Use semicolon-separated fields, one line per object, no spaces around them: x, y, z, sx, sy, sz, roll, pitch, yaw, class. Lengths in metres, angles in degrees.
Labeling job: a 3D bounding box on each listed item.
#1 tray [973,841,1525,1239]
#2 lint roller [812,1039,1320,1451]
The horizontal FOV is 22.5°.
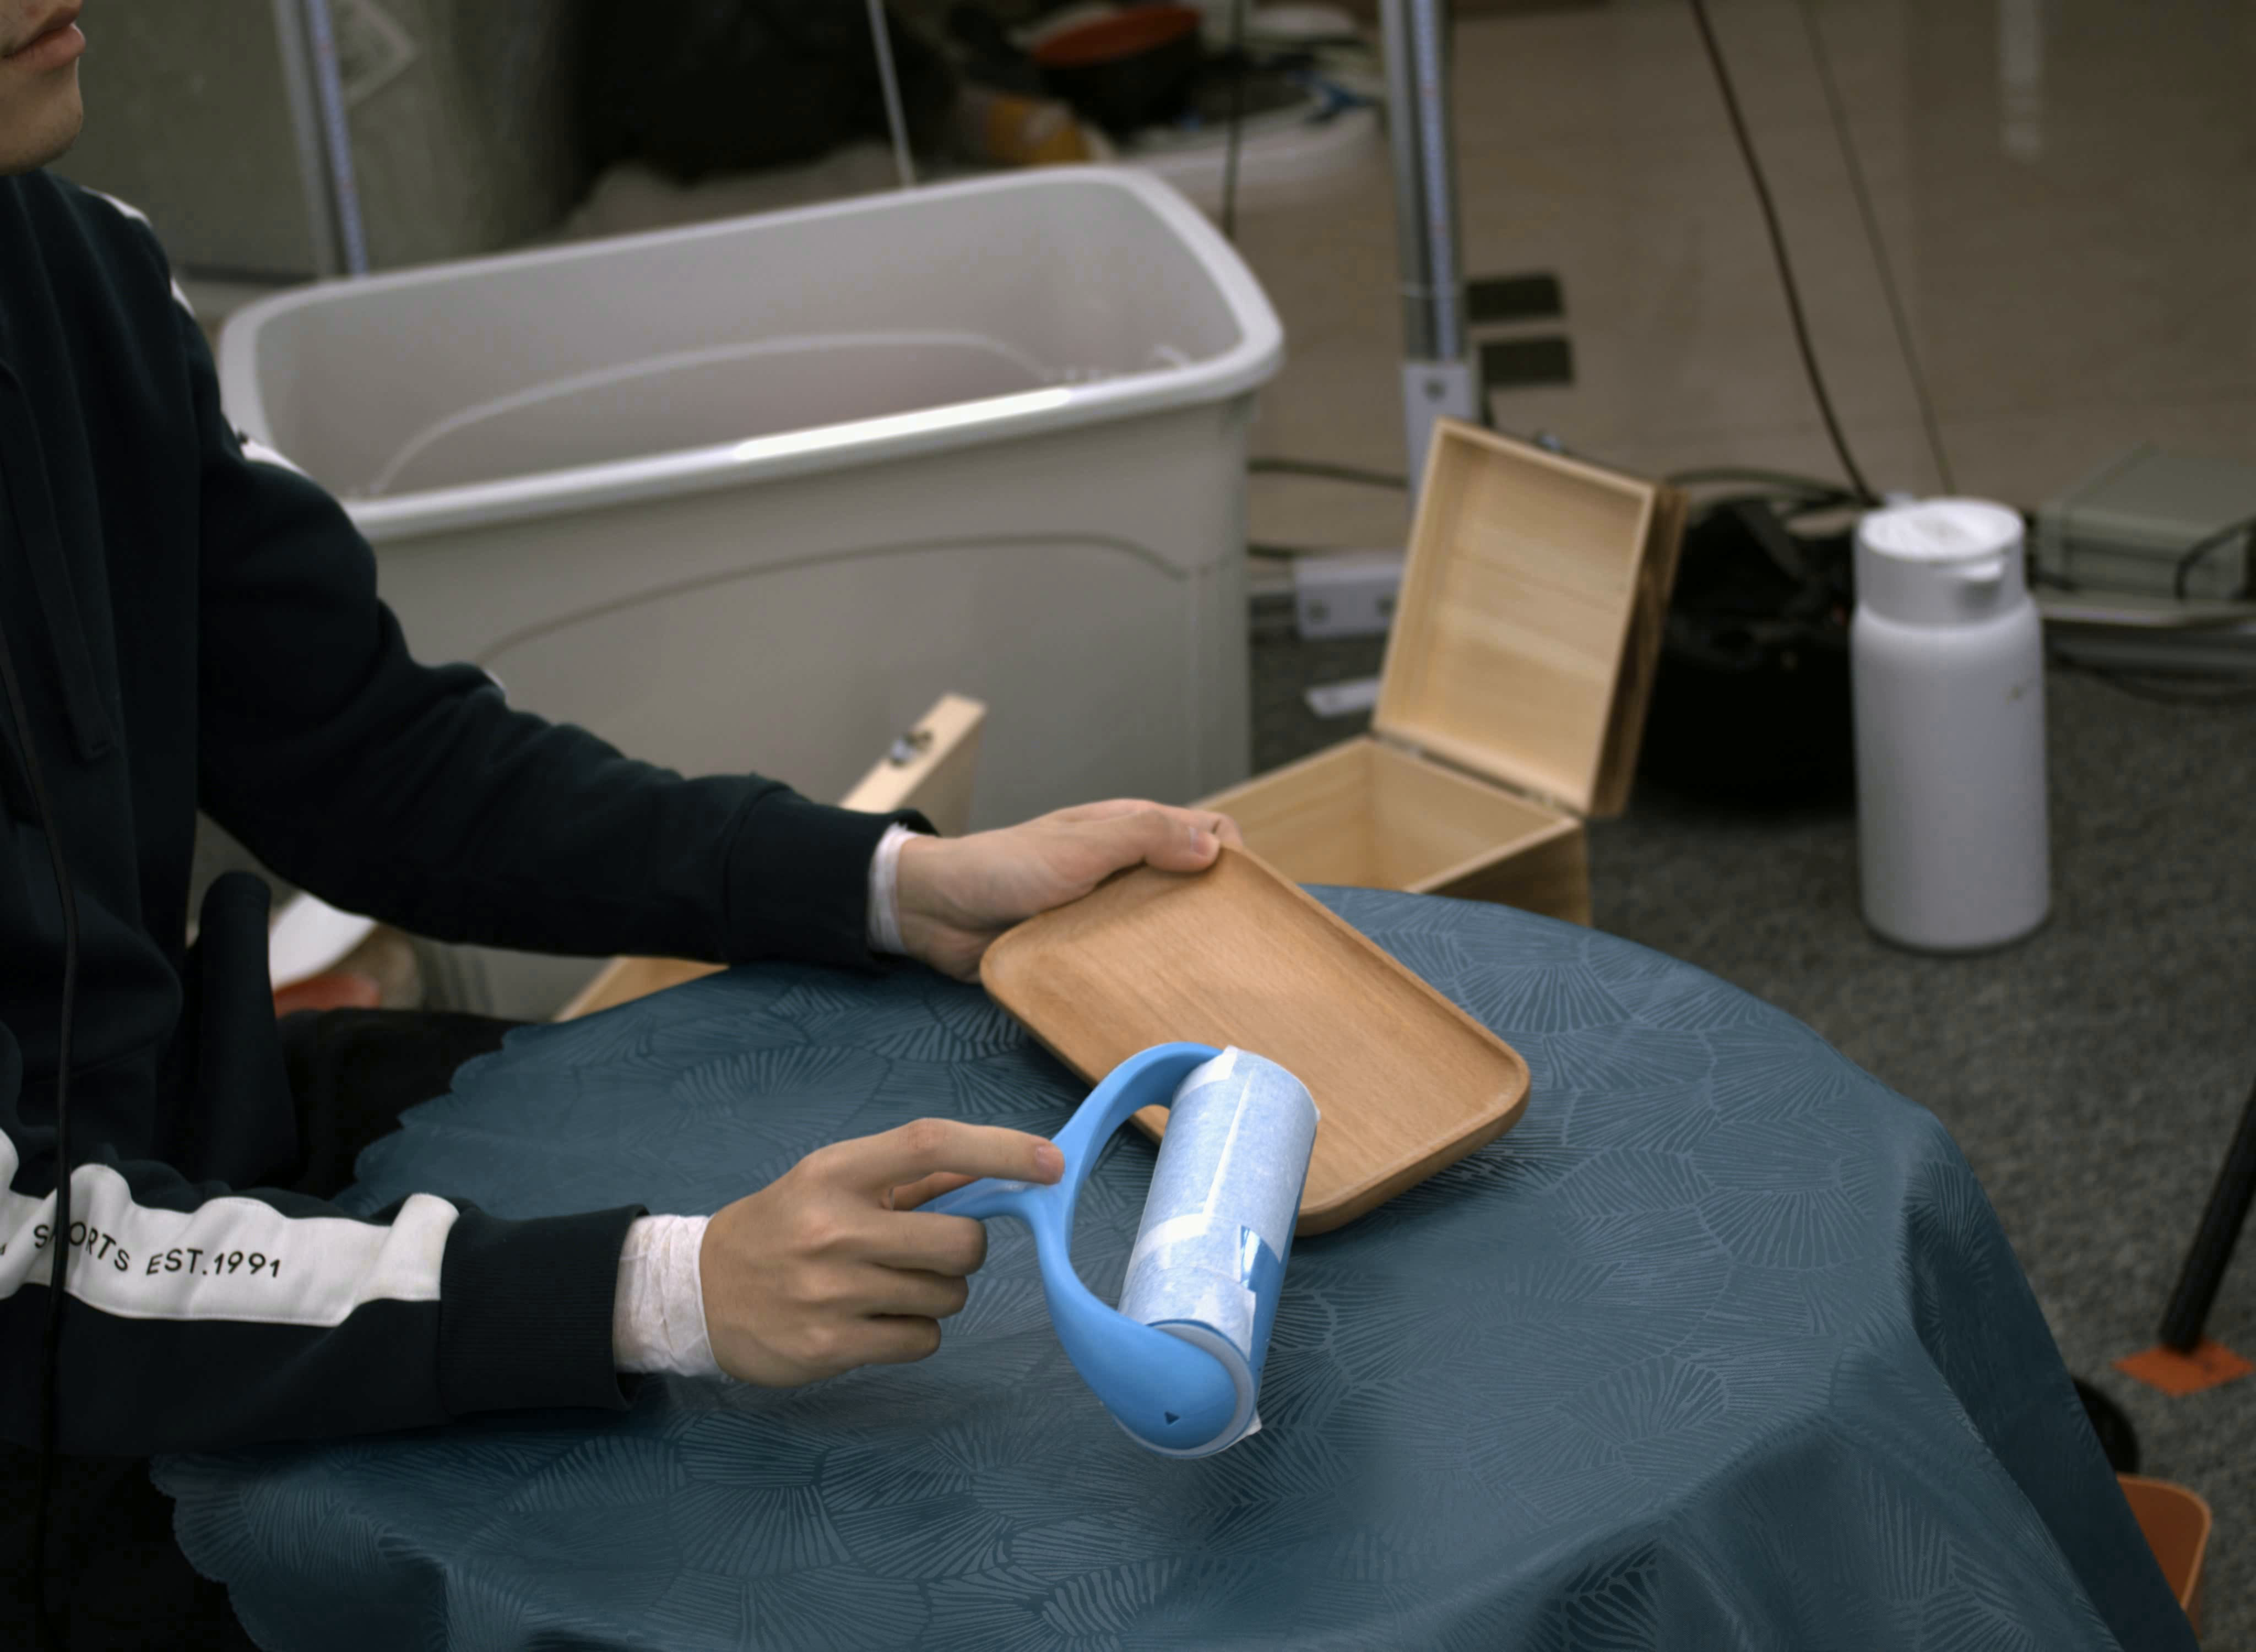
0.045;0.081;2.194;0.130;0.023;0.247;-29;37;-16;tray
-0.027;0.149;1.988;0.180;0.069;0.225;-5;26;7;lint roller
